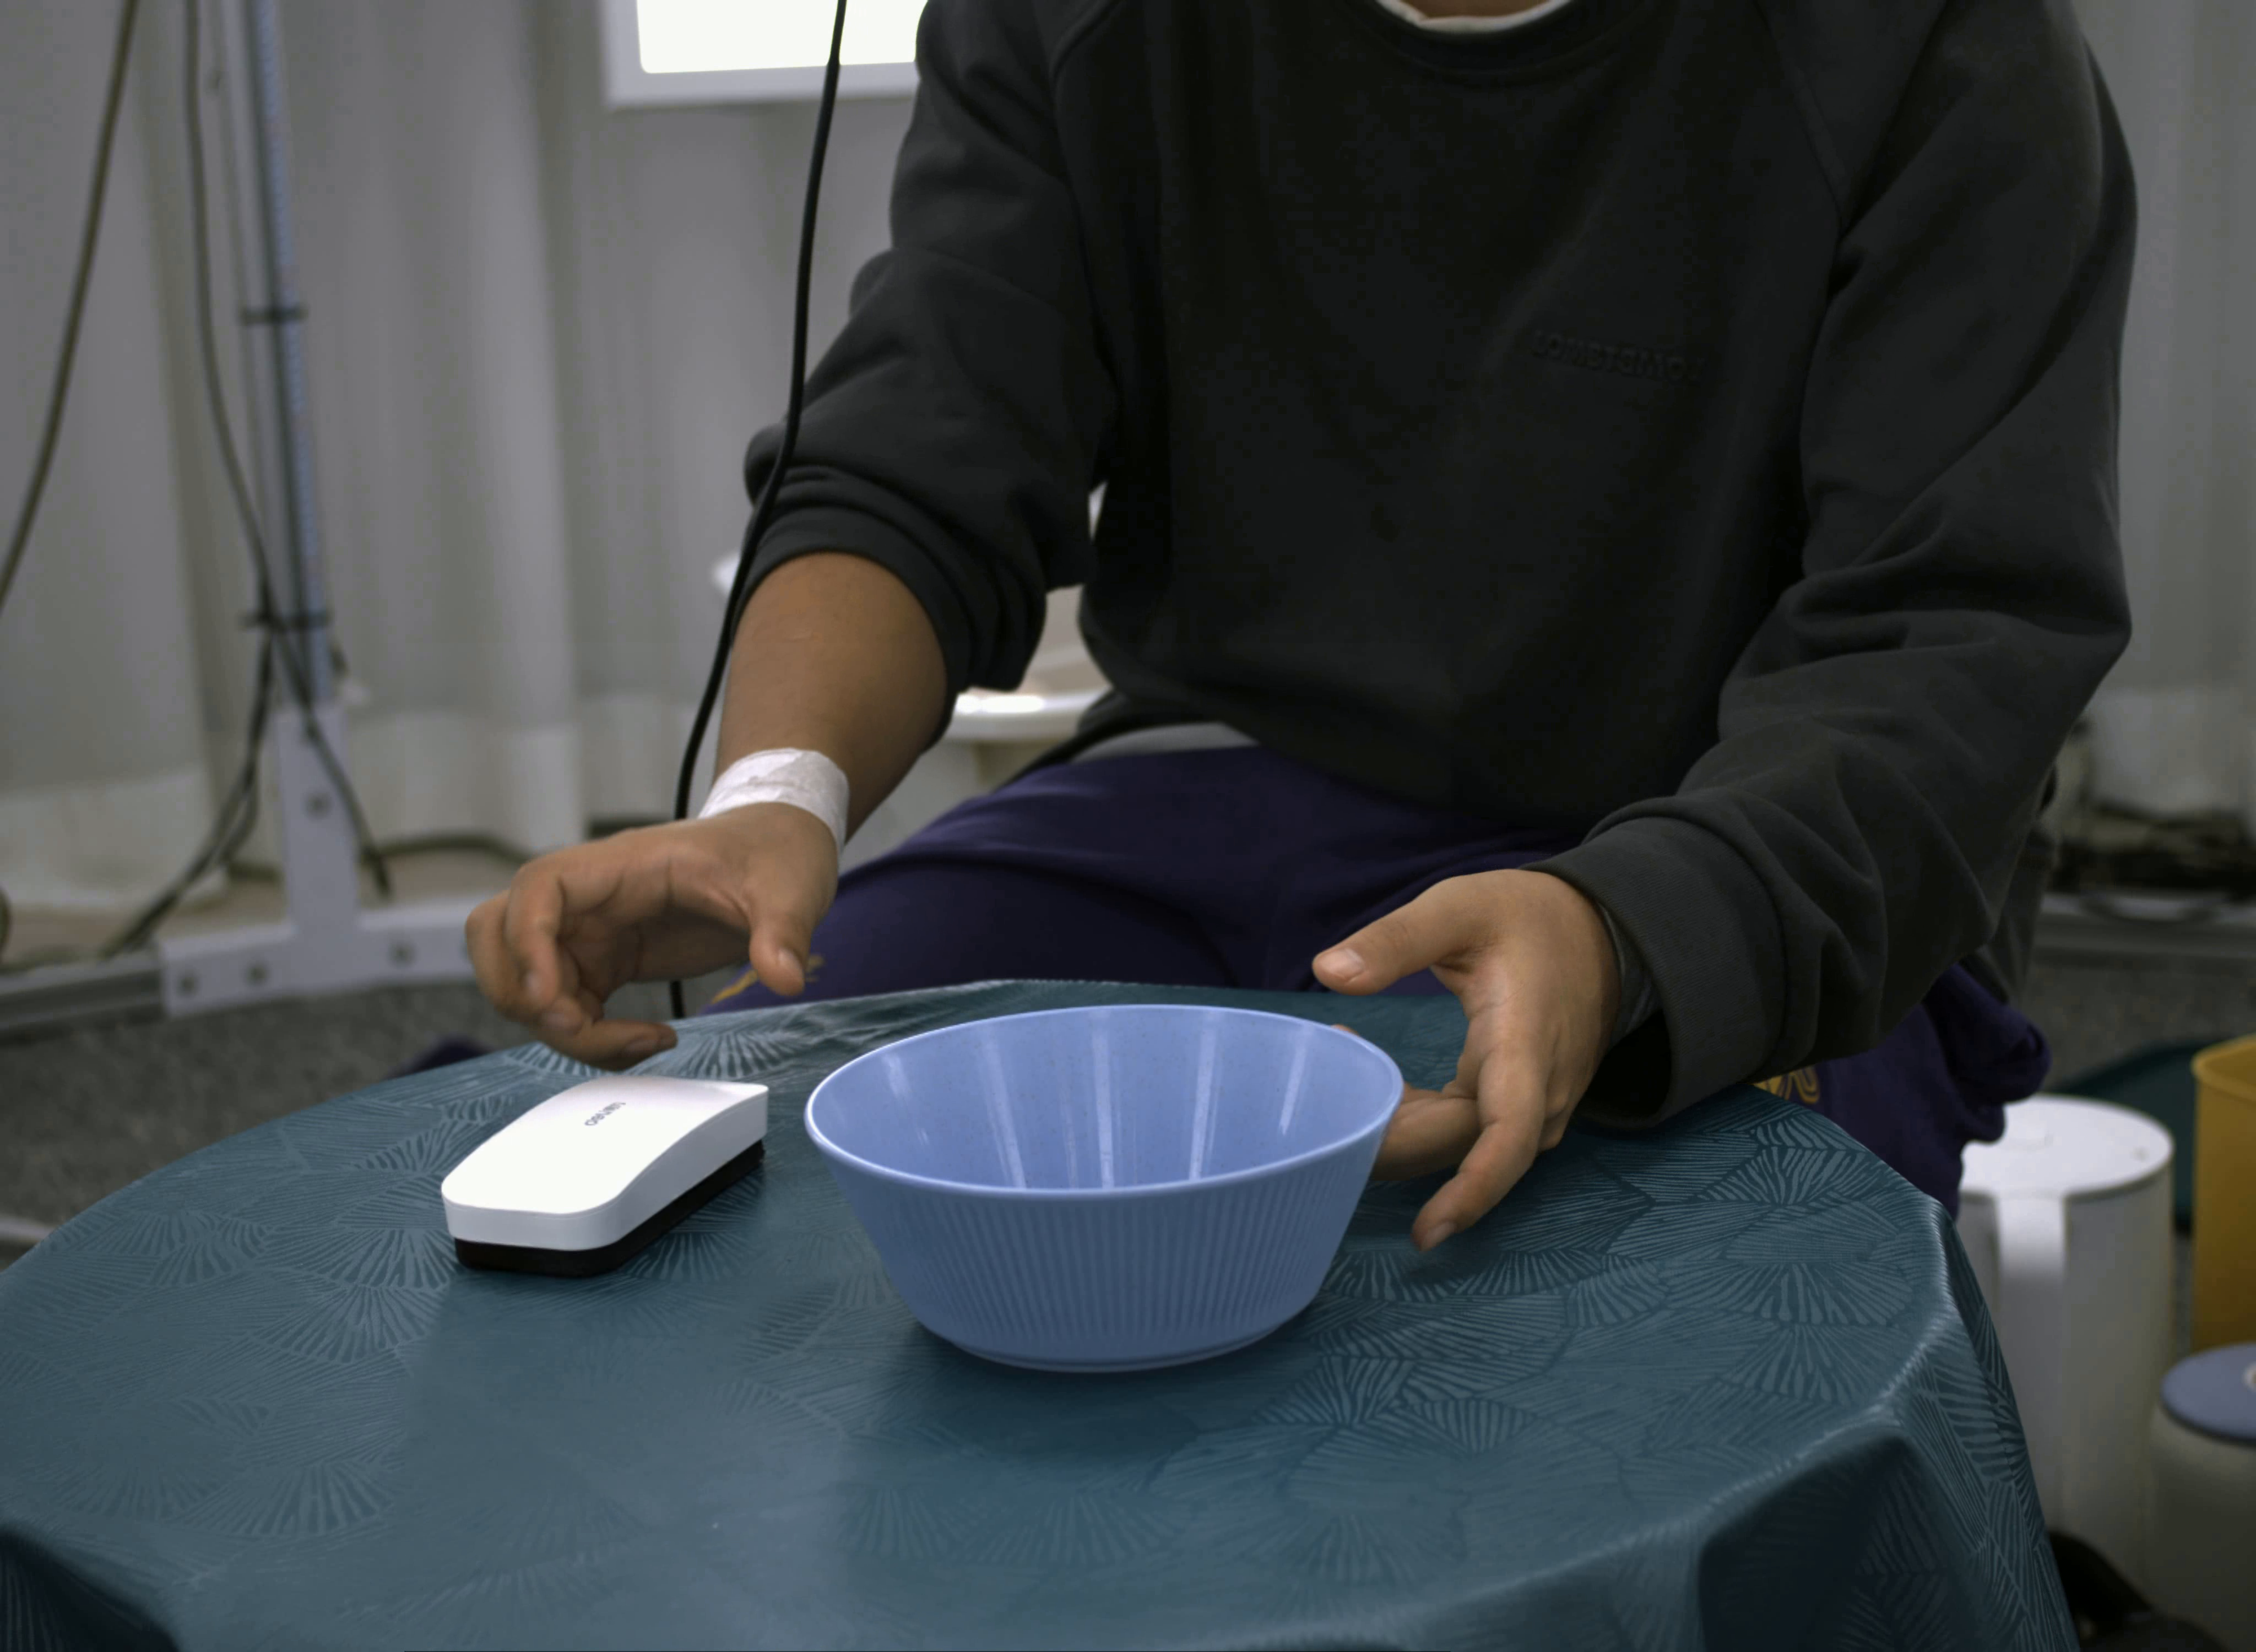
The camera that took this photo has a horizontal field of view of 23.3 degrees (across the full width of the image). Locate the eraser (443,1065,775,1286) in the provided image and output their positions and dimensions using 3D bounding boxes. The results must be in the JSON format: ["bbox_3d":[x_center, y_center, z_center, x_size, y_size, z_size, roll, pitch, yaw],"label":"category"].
[{"bbox_3d":[-0.160,0.106,1.719,0.063,0.034,0.132,5,19,23],"label":"eraser"}]

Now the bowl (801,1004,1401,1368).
[{"bbox_3d":[-0.007,0.108,1.604,0.175,0.070,0.177,-2,15,0],"label":"bowl"}]
